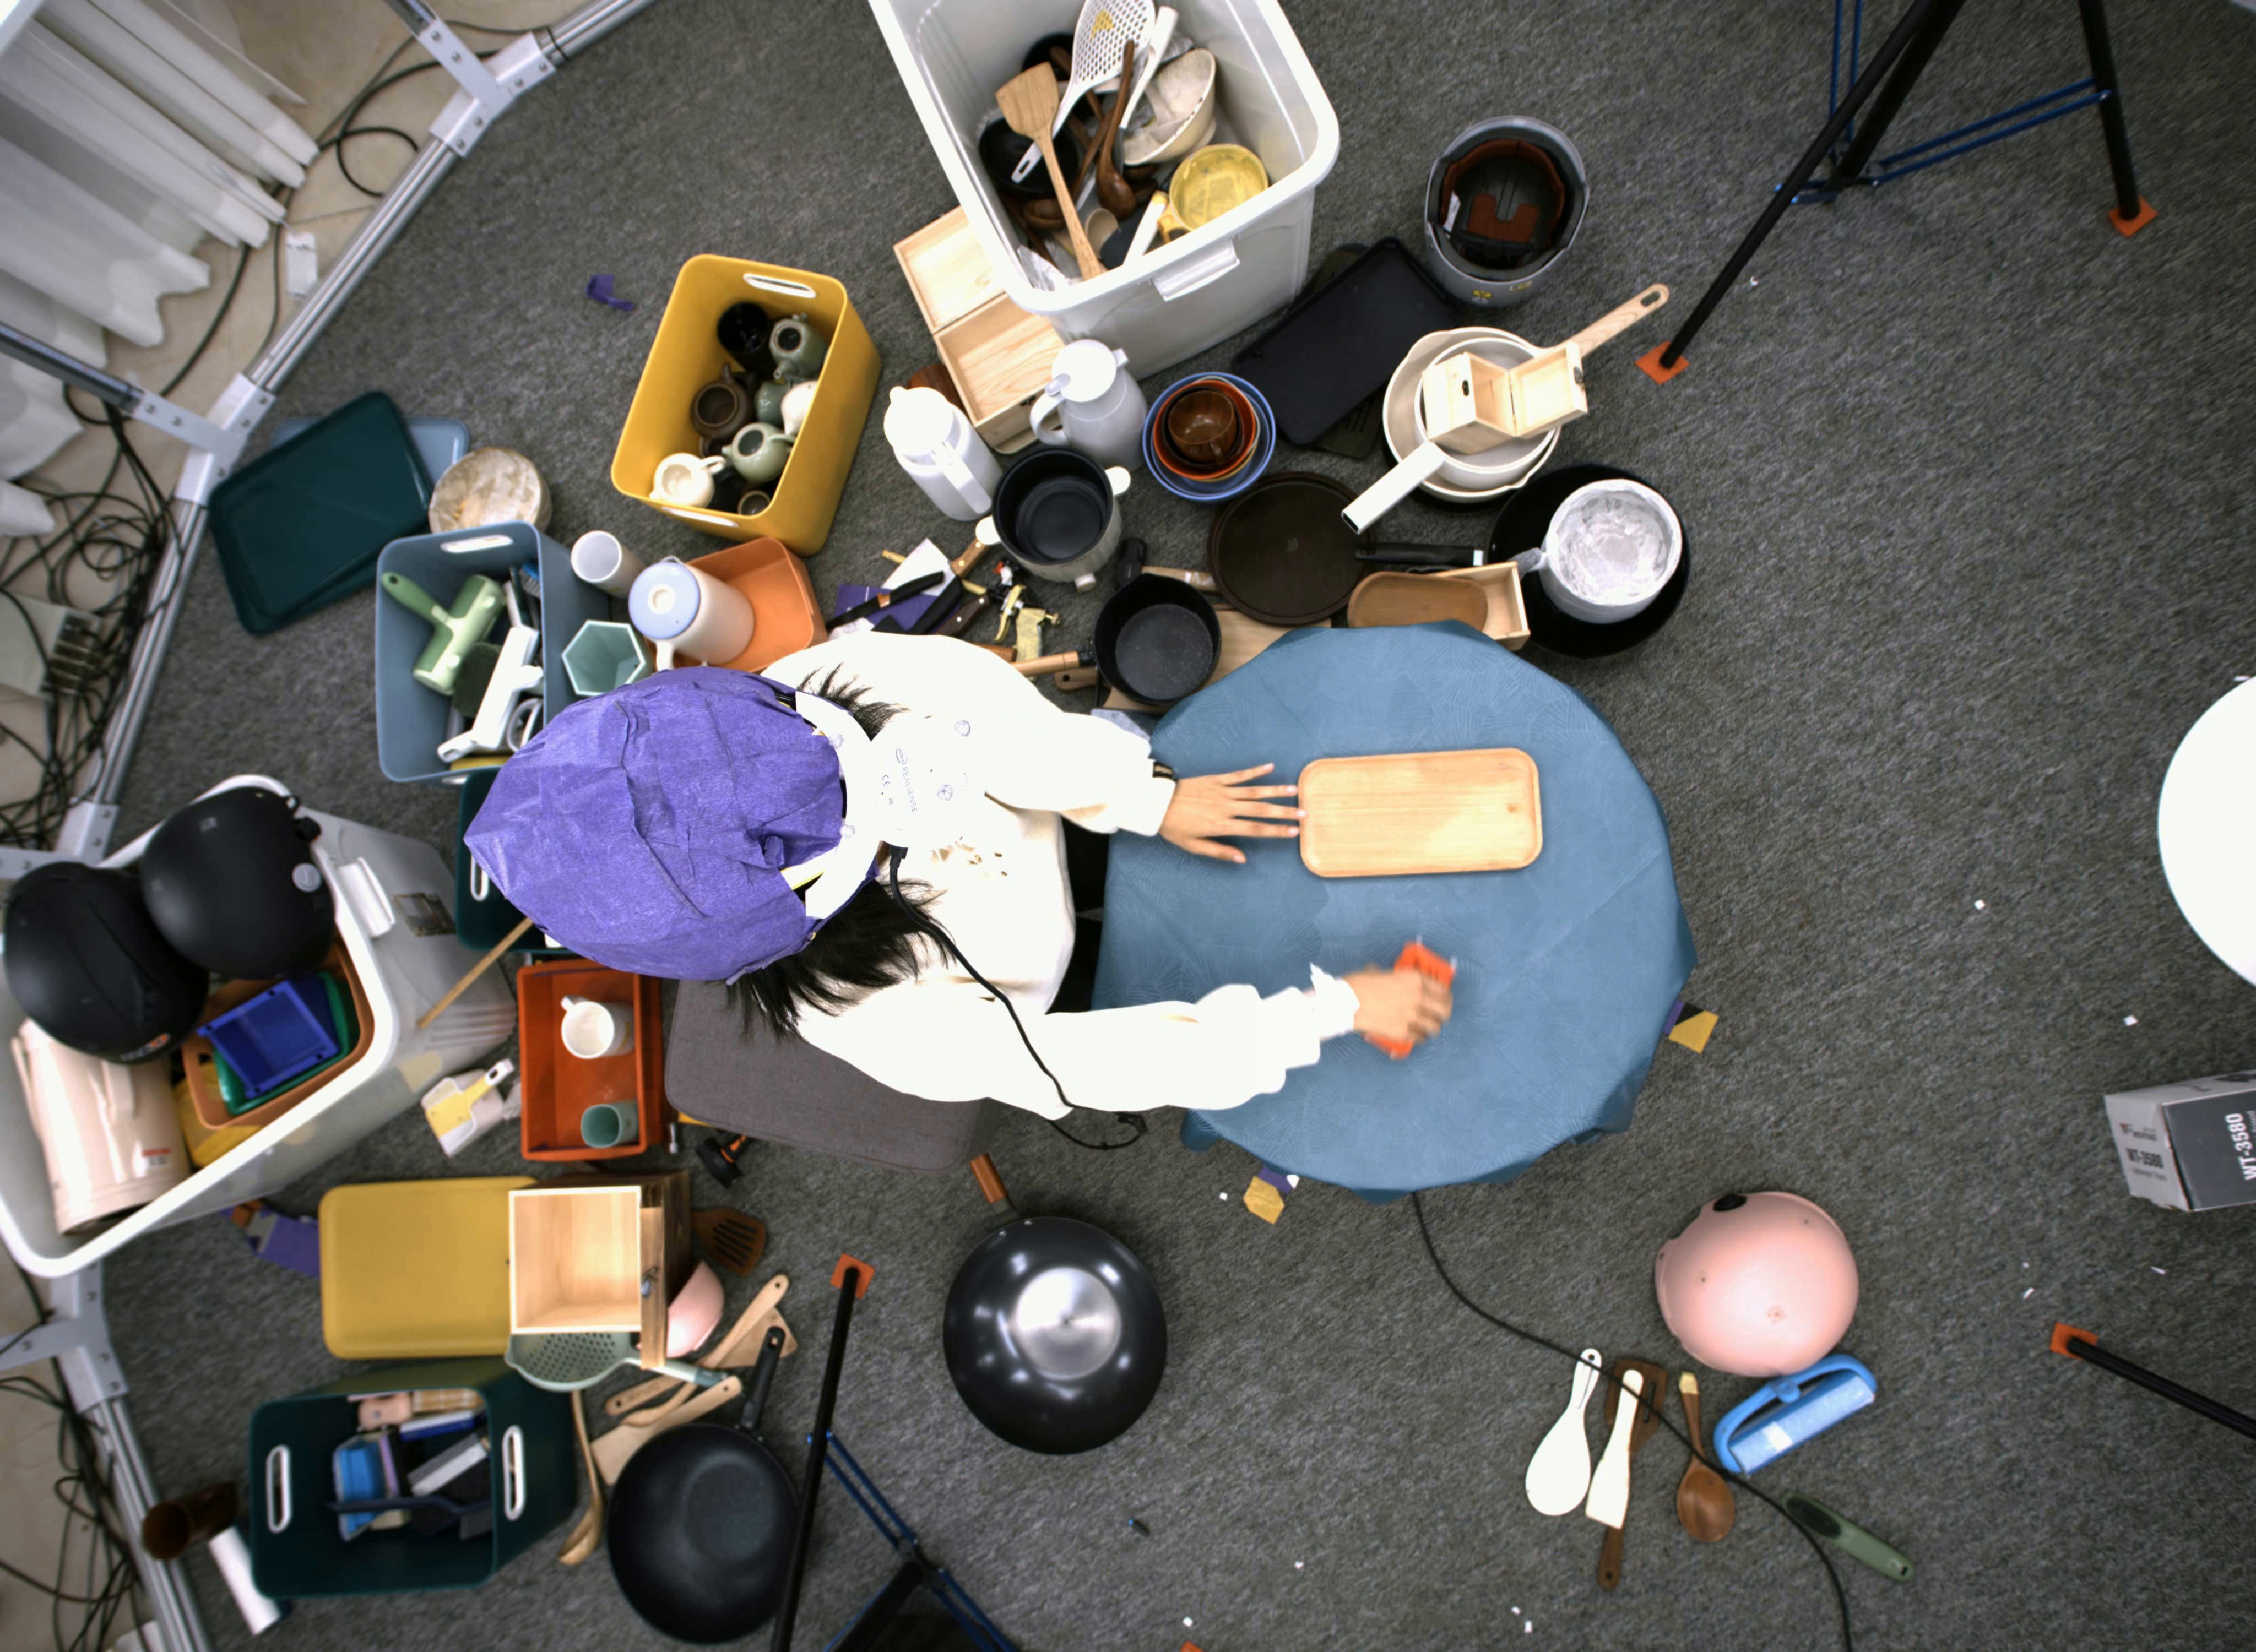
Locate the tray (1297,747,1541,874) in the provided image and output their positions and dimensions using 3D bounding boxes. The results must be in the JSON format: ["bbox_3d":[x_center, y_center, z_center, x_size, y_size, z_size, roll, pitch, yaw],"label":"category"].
[{"bbox_3d":[0.304,-0.017,1.449,0.252,0.023,0.129,-2,84,11],"label":"tray"}]

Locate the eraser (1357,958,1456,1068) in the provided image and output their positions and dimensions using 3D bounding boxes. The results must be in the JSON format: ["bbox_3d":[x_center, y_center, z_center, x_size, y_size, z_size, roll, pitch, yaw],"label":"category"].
[{"bbox_3d":[0.288,0.192,1.429,0.059,0.023,0.109,34,99,17],"label":"eraser"}]
